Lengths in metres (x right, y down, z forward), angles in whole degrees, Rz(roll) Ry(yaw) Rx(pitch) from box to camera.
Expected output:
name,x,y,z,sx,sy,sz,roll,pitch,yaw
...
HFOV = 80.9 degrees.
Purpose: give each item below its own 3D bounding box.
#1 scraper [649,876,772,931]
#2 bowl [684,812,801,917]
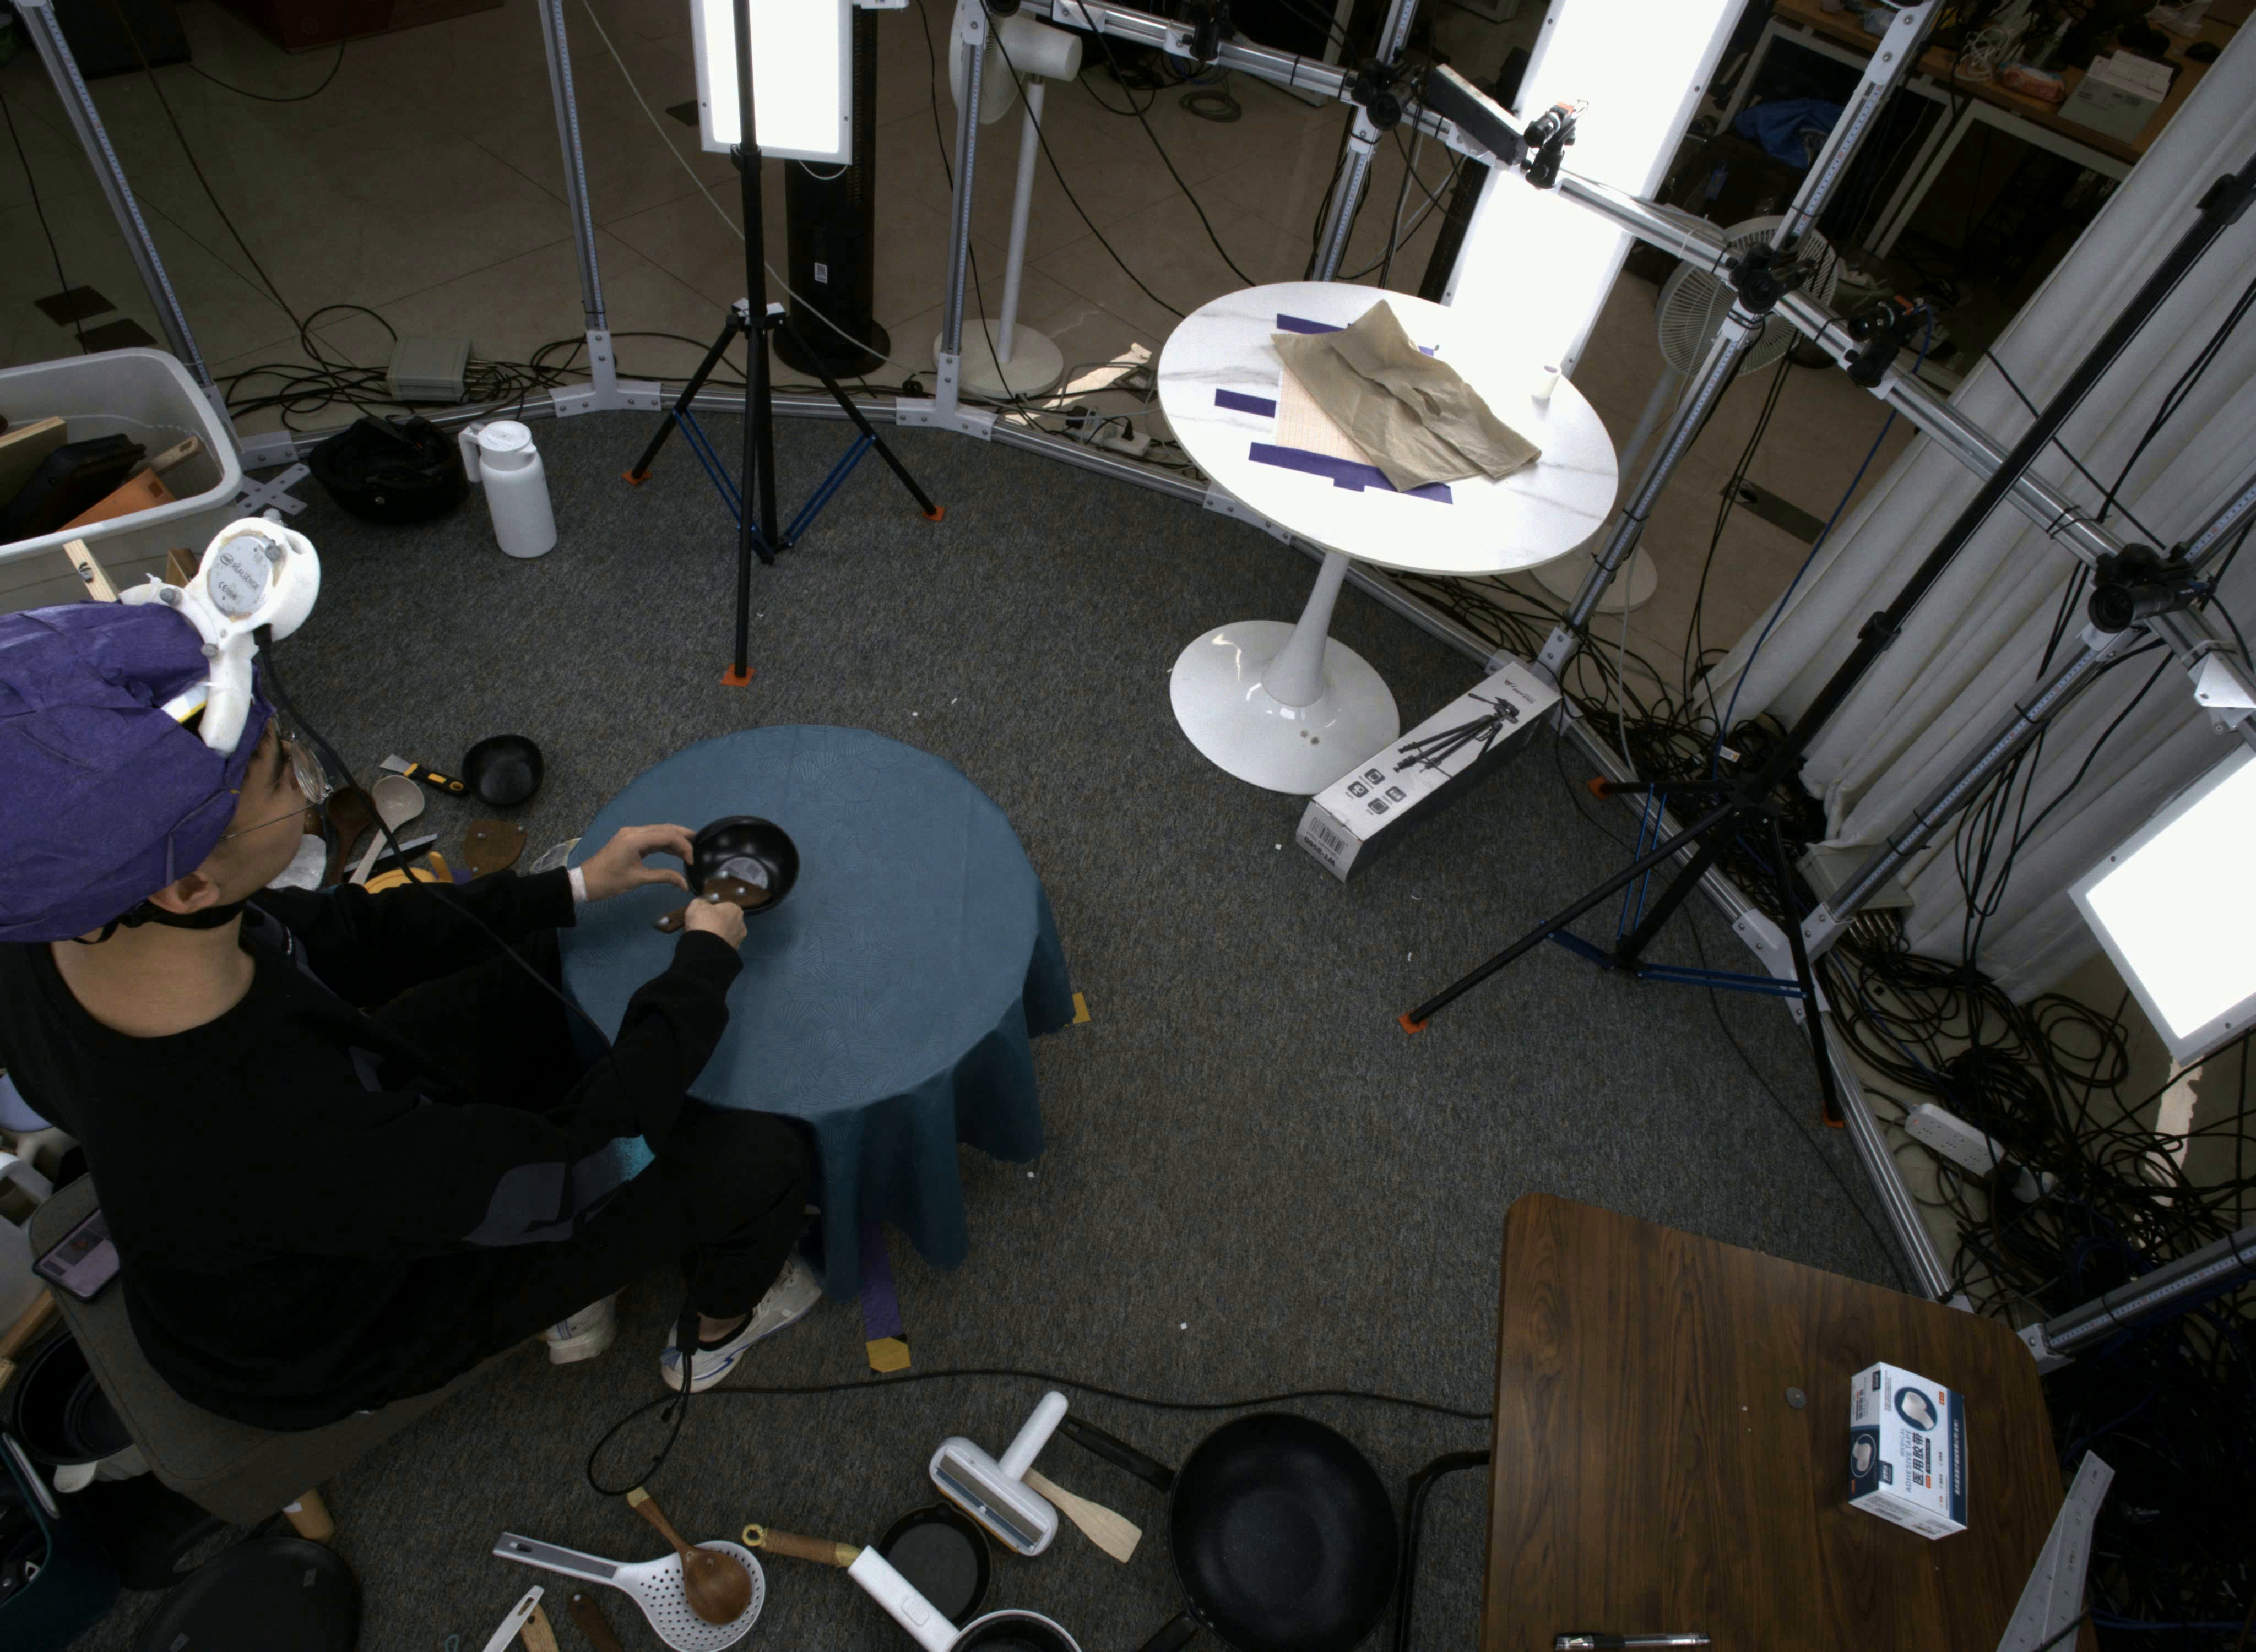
name,x,y,z,sx,sy,sz,roll,pitch,yaw
scraper,-0.494,0.091,1.508,0.074,0.011,0.211,22,13,8
bowl,-0.477,0.053,1.598,0.141,0.050,0.138,10,59,-15
